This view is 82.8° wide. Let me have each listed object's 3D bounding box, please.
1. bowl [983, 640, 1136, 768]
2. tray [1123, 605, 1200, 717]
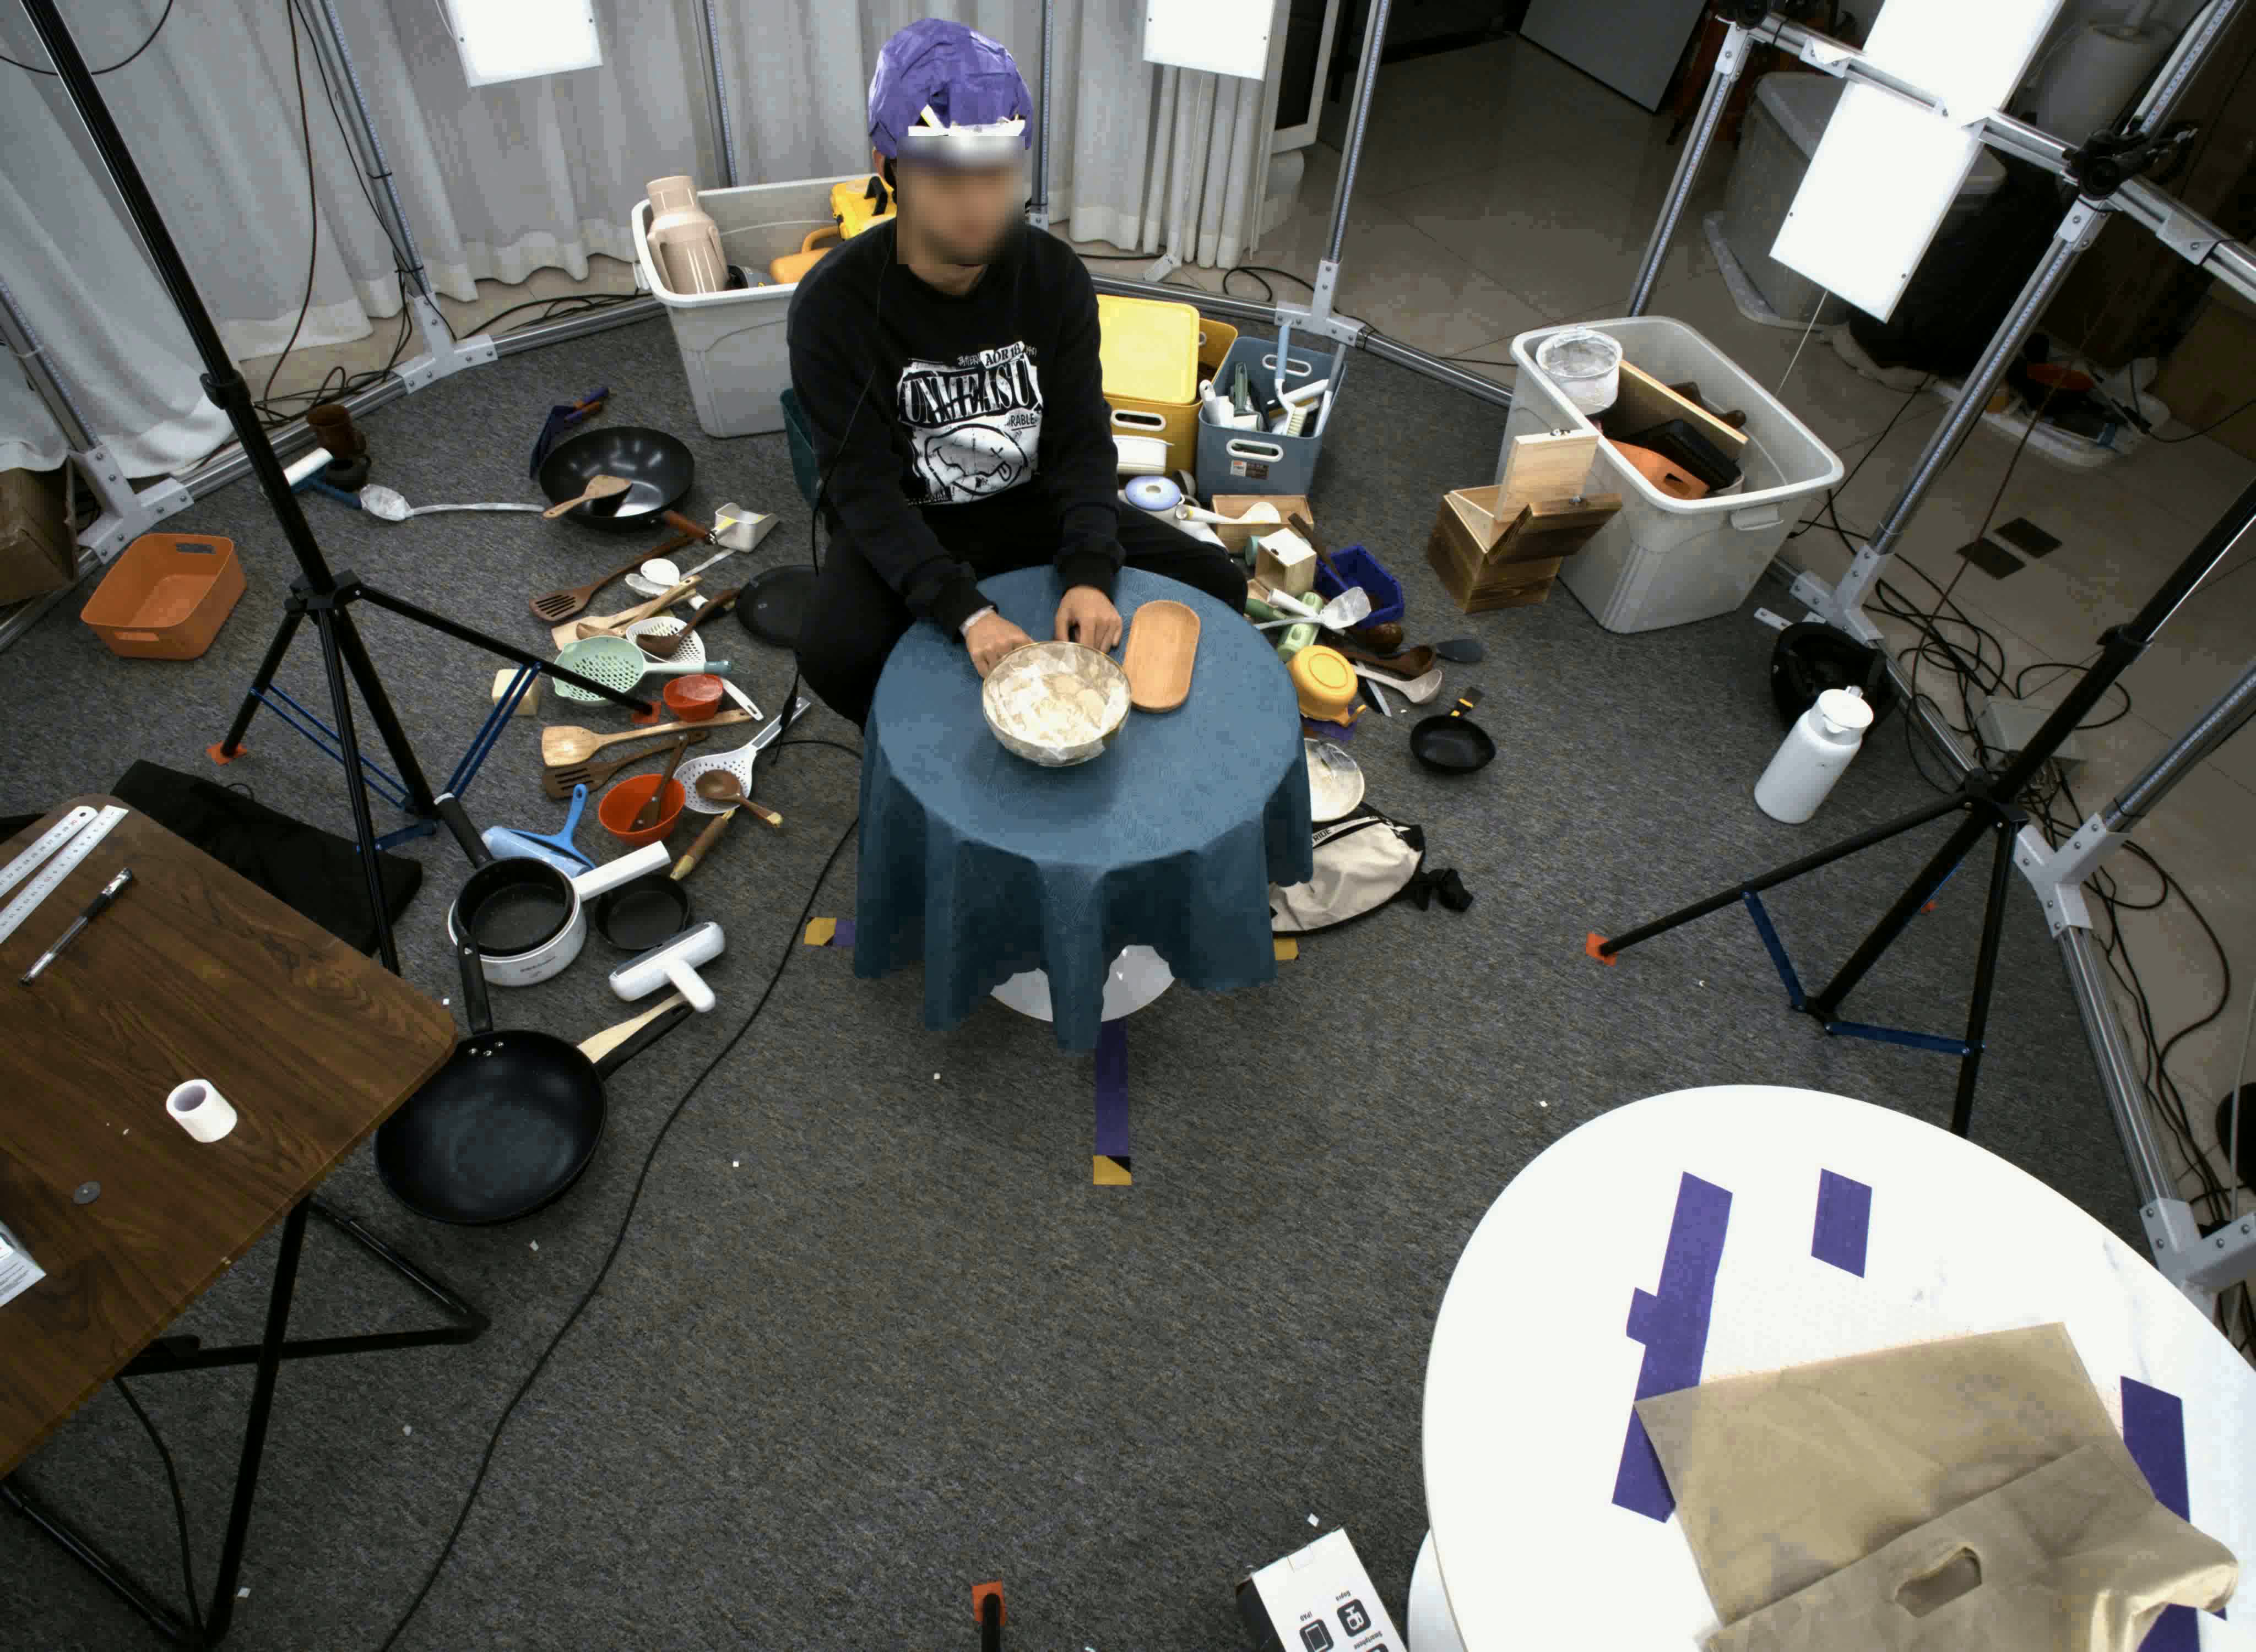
[{"bbox_3d":[-0.092,-0.152,1.750,0.214,0.092,0.220,1,49,-1],"label":"bowl"},{"bbox_3d":[0.049,-0.246,1.892,0.102,0.020,0.236,6,50,4],"label":"tray"}]
